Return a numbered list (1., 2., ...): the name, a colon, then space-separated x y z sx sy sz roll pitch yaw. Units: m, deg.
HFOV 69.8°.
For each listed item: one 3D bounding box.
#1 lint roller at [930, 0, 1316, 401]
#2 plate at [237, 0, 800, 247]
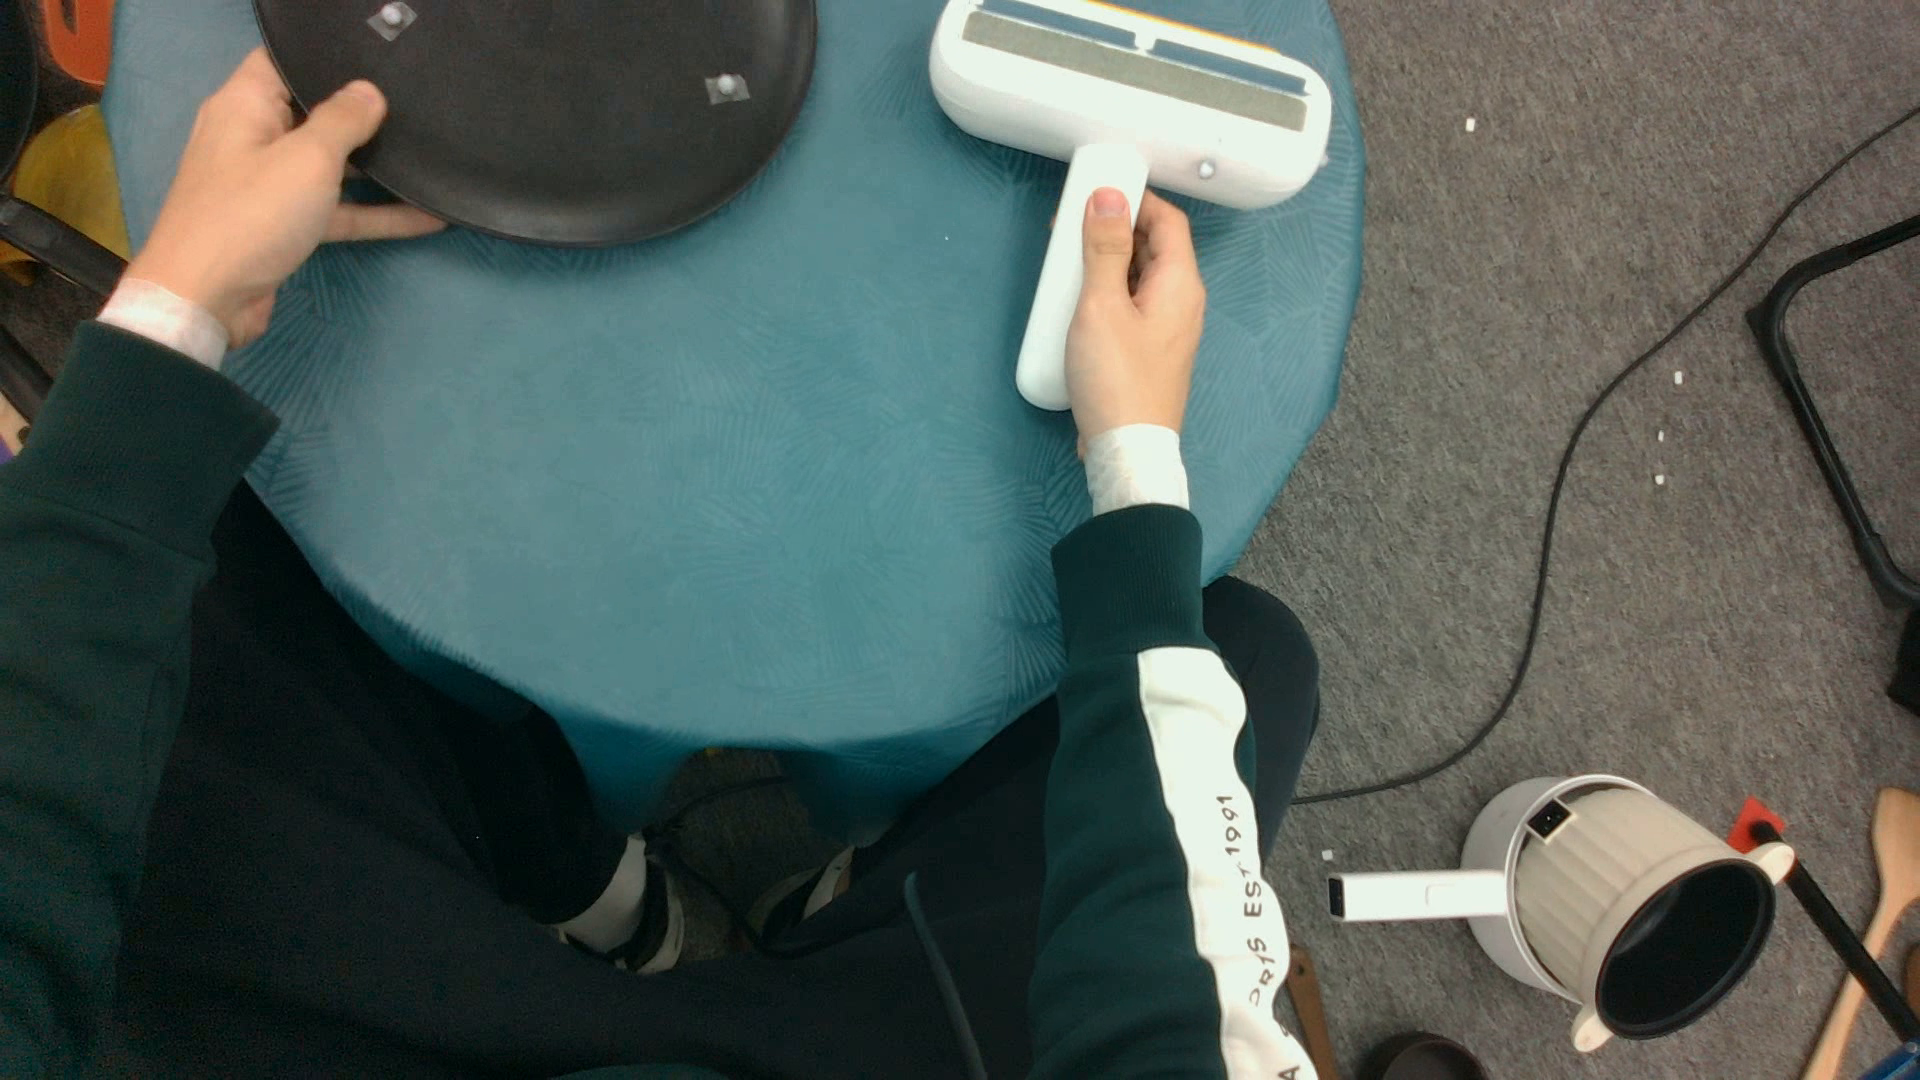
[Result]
1. lint roller: 0.057 -0.161 0.683 0.193 0.074 0.192 21 90 -4
2. plate: -0.193 -0.247 0.625 0.245 0.023 0.245 4 80 -20
